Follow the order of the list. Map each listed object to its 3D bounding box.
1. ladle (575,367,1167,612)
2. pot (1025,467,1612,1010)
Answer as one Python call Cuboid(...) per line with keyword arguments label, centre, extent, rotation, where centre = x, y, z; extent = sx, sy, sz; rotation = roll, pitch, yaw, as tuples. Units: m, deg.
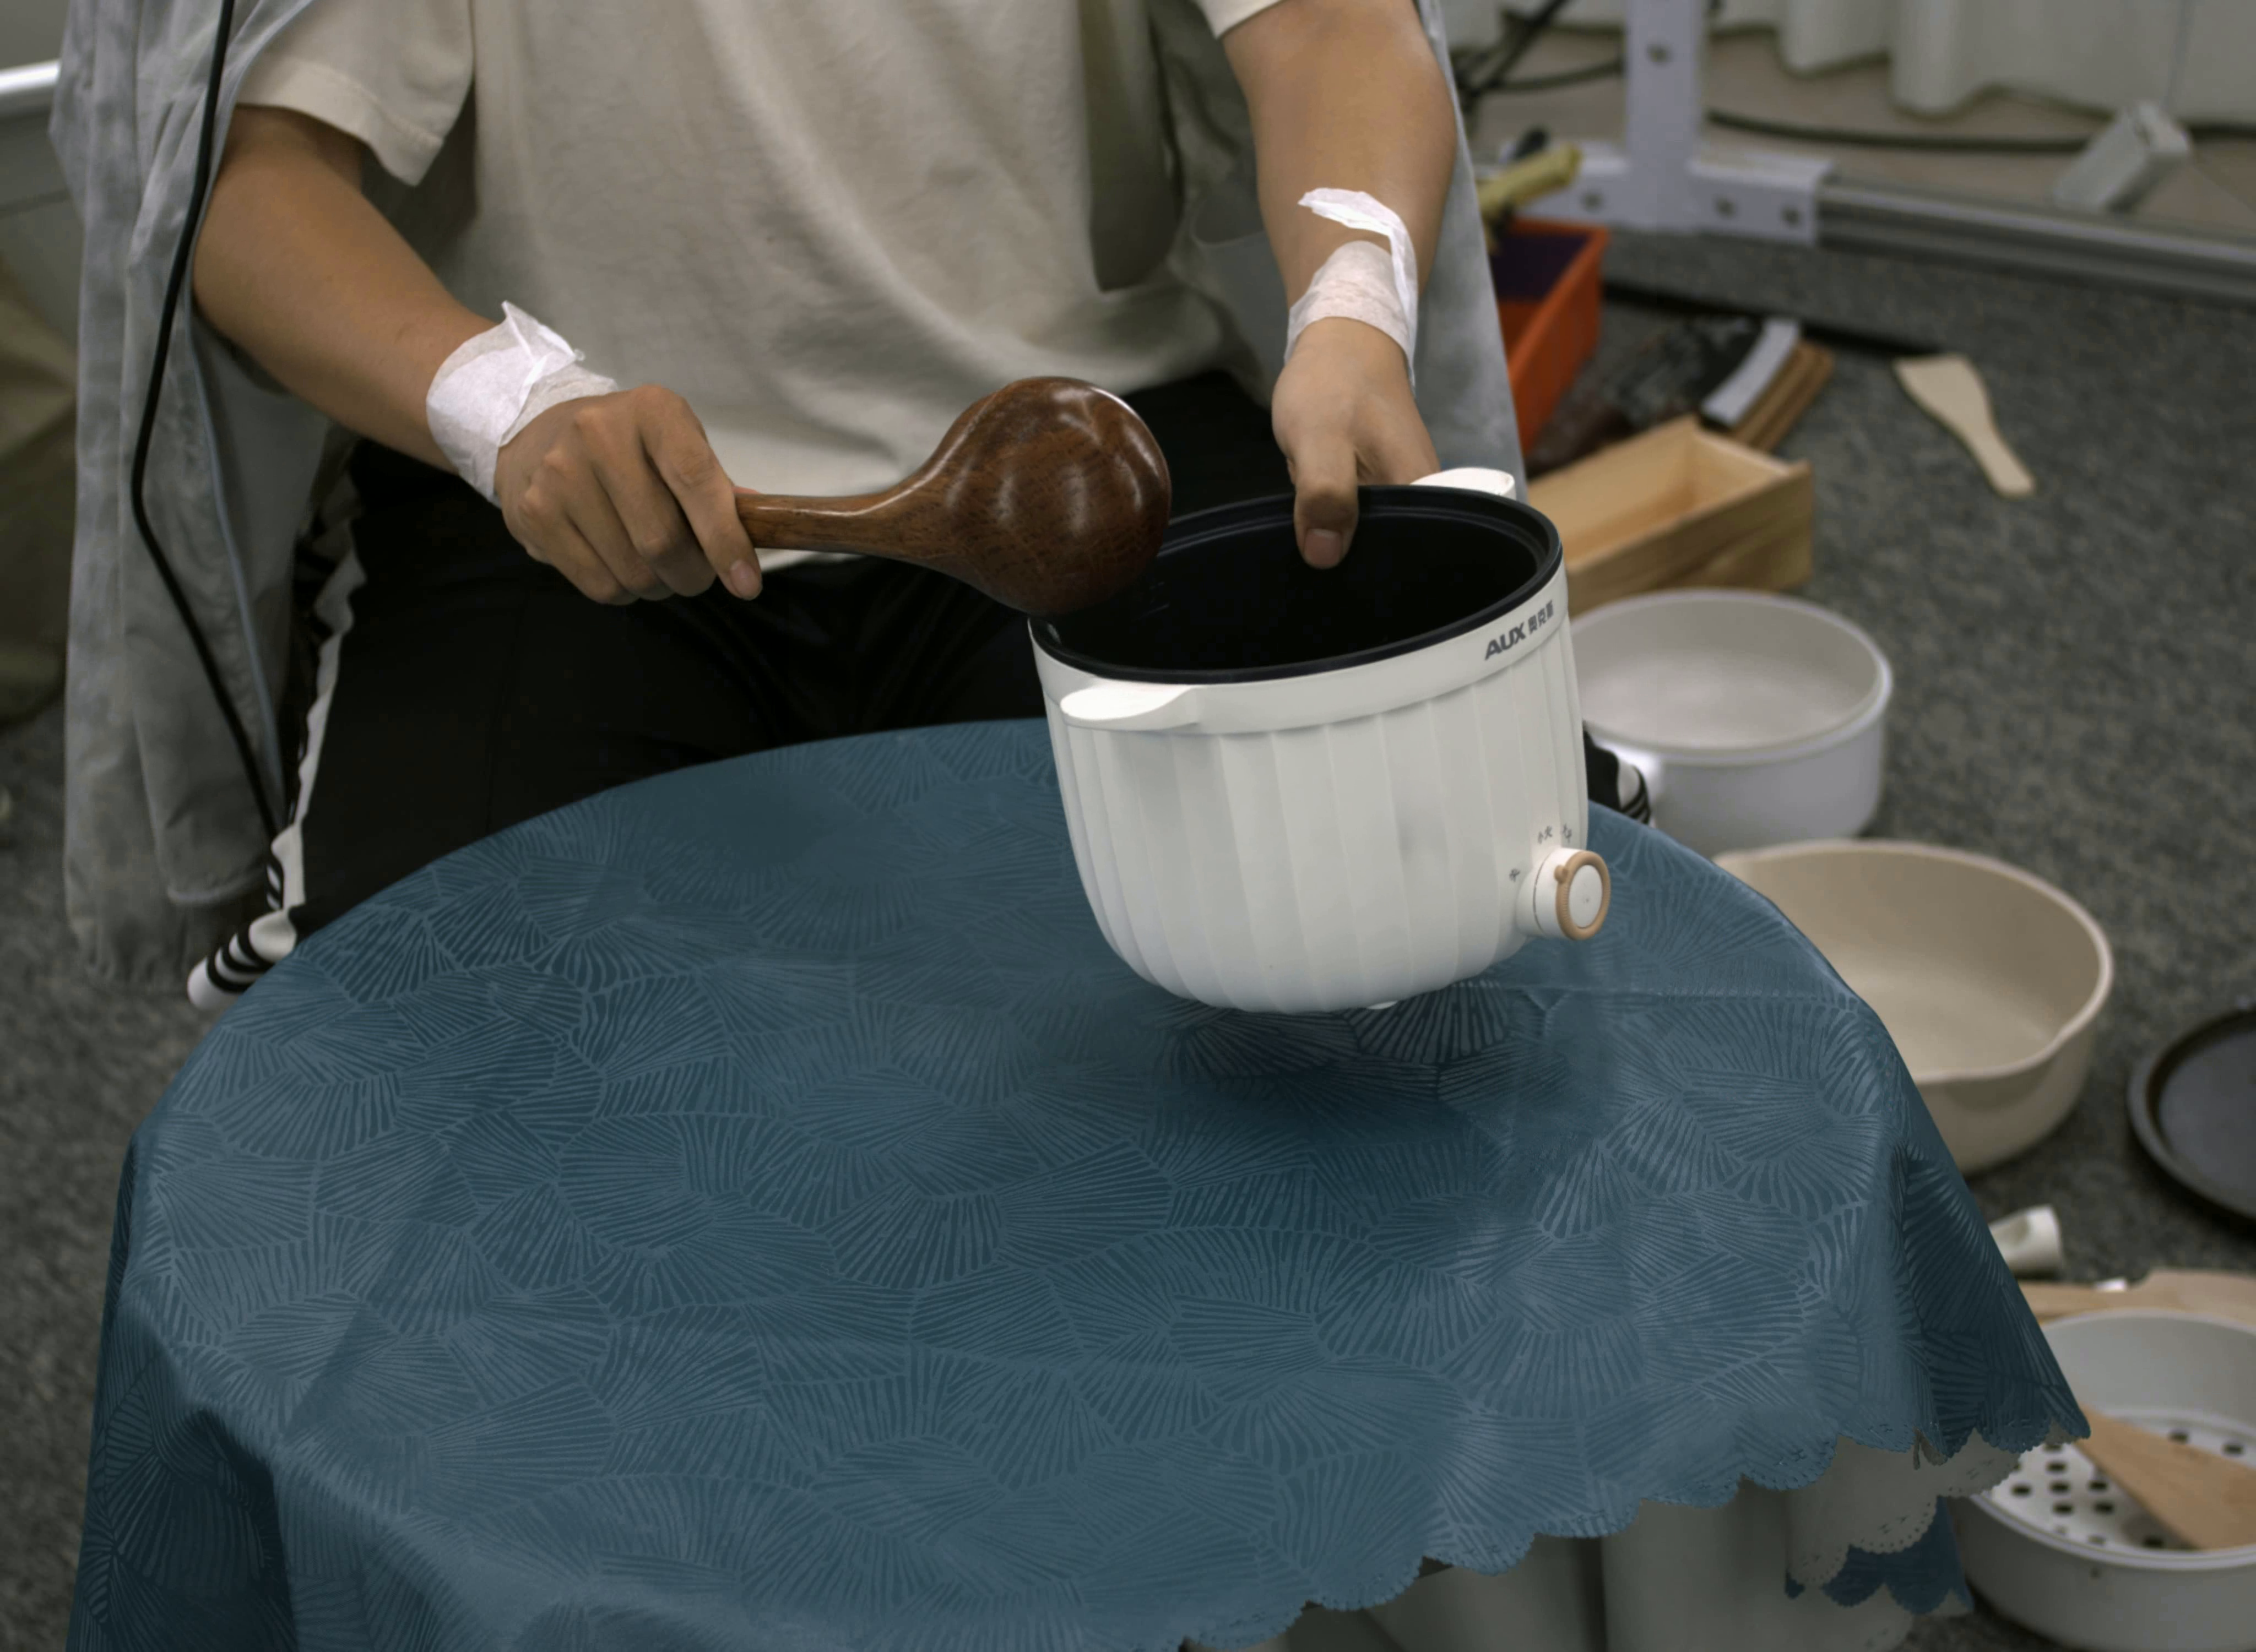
Cuboid(label="ladle", centre=(-0.091, -0.111, 1.958), extent=(0.077, 0.082, 0.271), rotation=(-14, 8, -36))
Cuboid(label="pot", centre=(0.070, -0.024, 1.904), extent=(0.189, 0.142, 0.244), rotation=(2, 23, 37))
